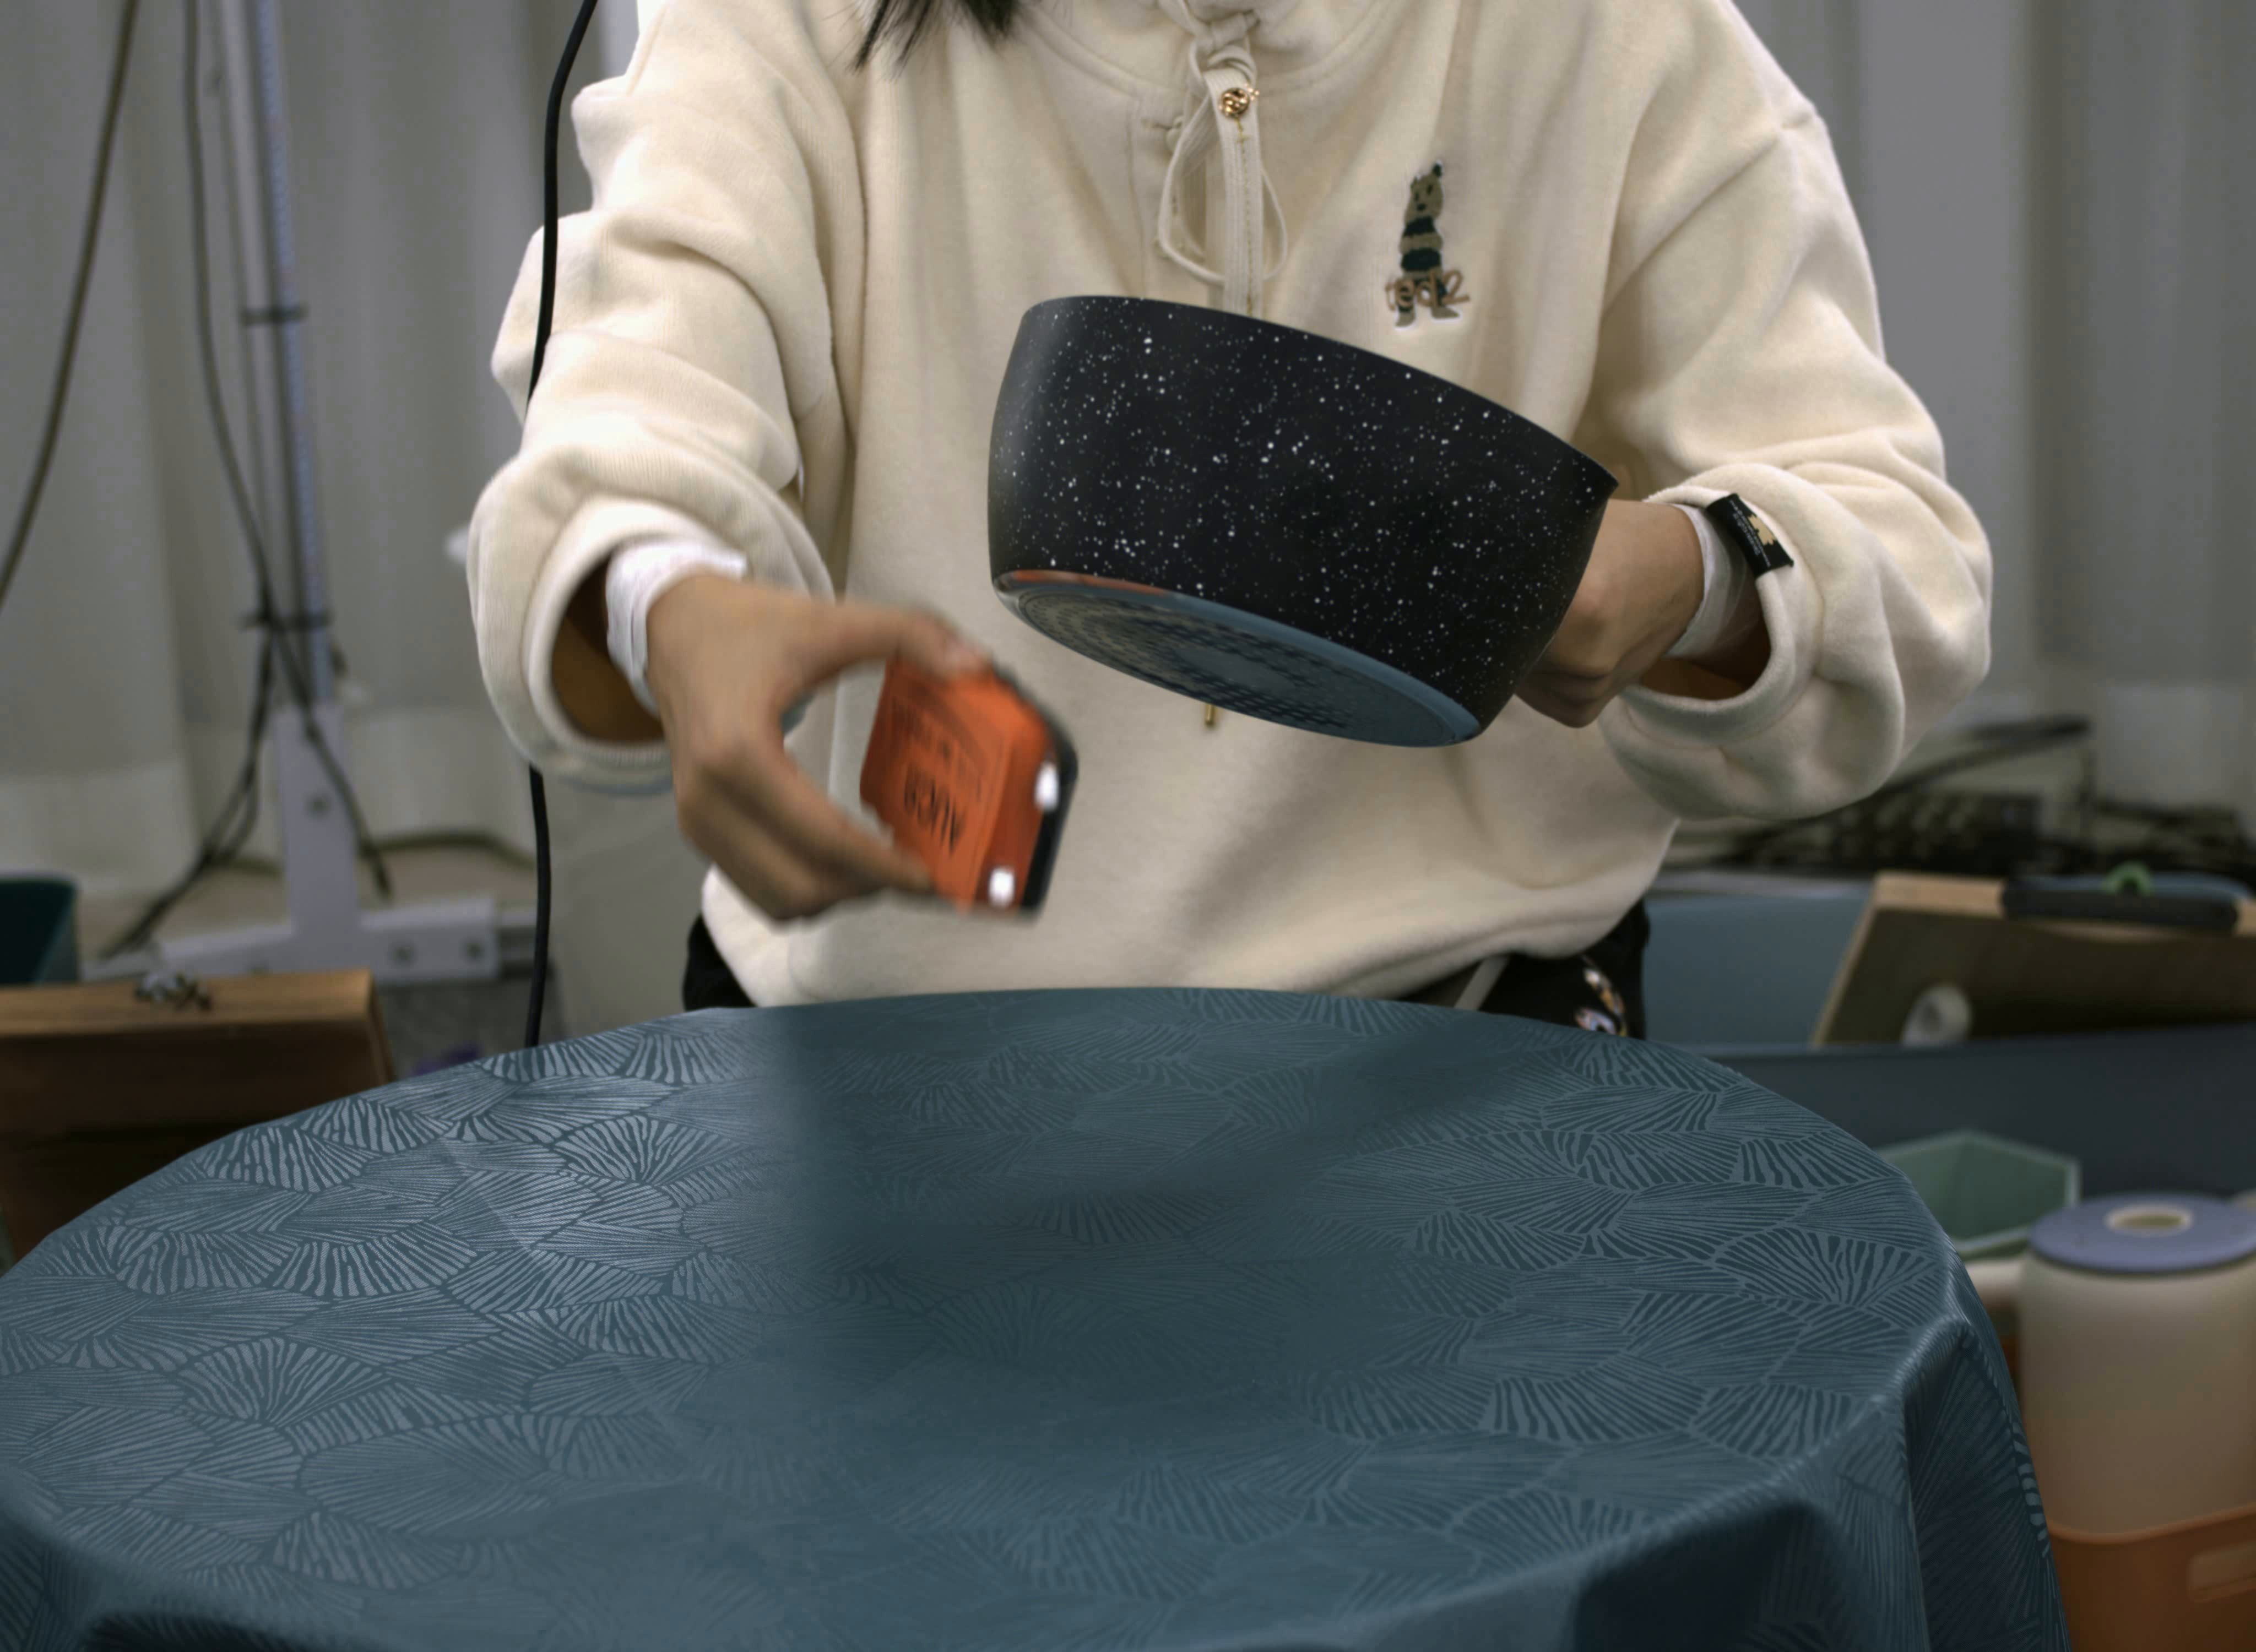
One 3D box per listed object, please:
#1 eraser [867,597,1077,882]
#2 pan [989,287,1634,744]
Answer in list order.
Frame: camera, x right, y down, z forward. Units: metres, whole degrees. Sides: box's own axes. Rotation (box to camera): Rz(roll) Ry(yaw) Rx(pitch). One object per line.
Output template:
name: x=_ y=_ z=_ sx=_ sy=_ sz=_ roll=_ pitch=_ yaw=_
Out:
eraser: x=-0.047 y=-0.026 z=1.603 sx=0.023 sy=0.059 sz=0.109 roll=7 pitch=15 yaw=-23
pan: x=0.074 y=-0.078 z=1.713 sx=0.208 sy=0.109 sz=0.339 roll=13 pitch=-8 yaw=23
